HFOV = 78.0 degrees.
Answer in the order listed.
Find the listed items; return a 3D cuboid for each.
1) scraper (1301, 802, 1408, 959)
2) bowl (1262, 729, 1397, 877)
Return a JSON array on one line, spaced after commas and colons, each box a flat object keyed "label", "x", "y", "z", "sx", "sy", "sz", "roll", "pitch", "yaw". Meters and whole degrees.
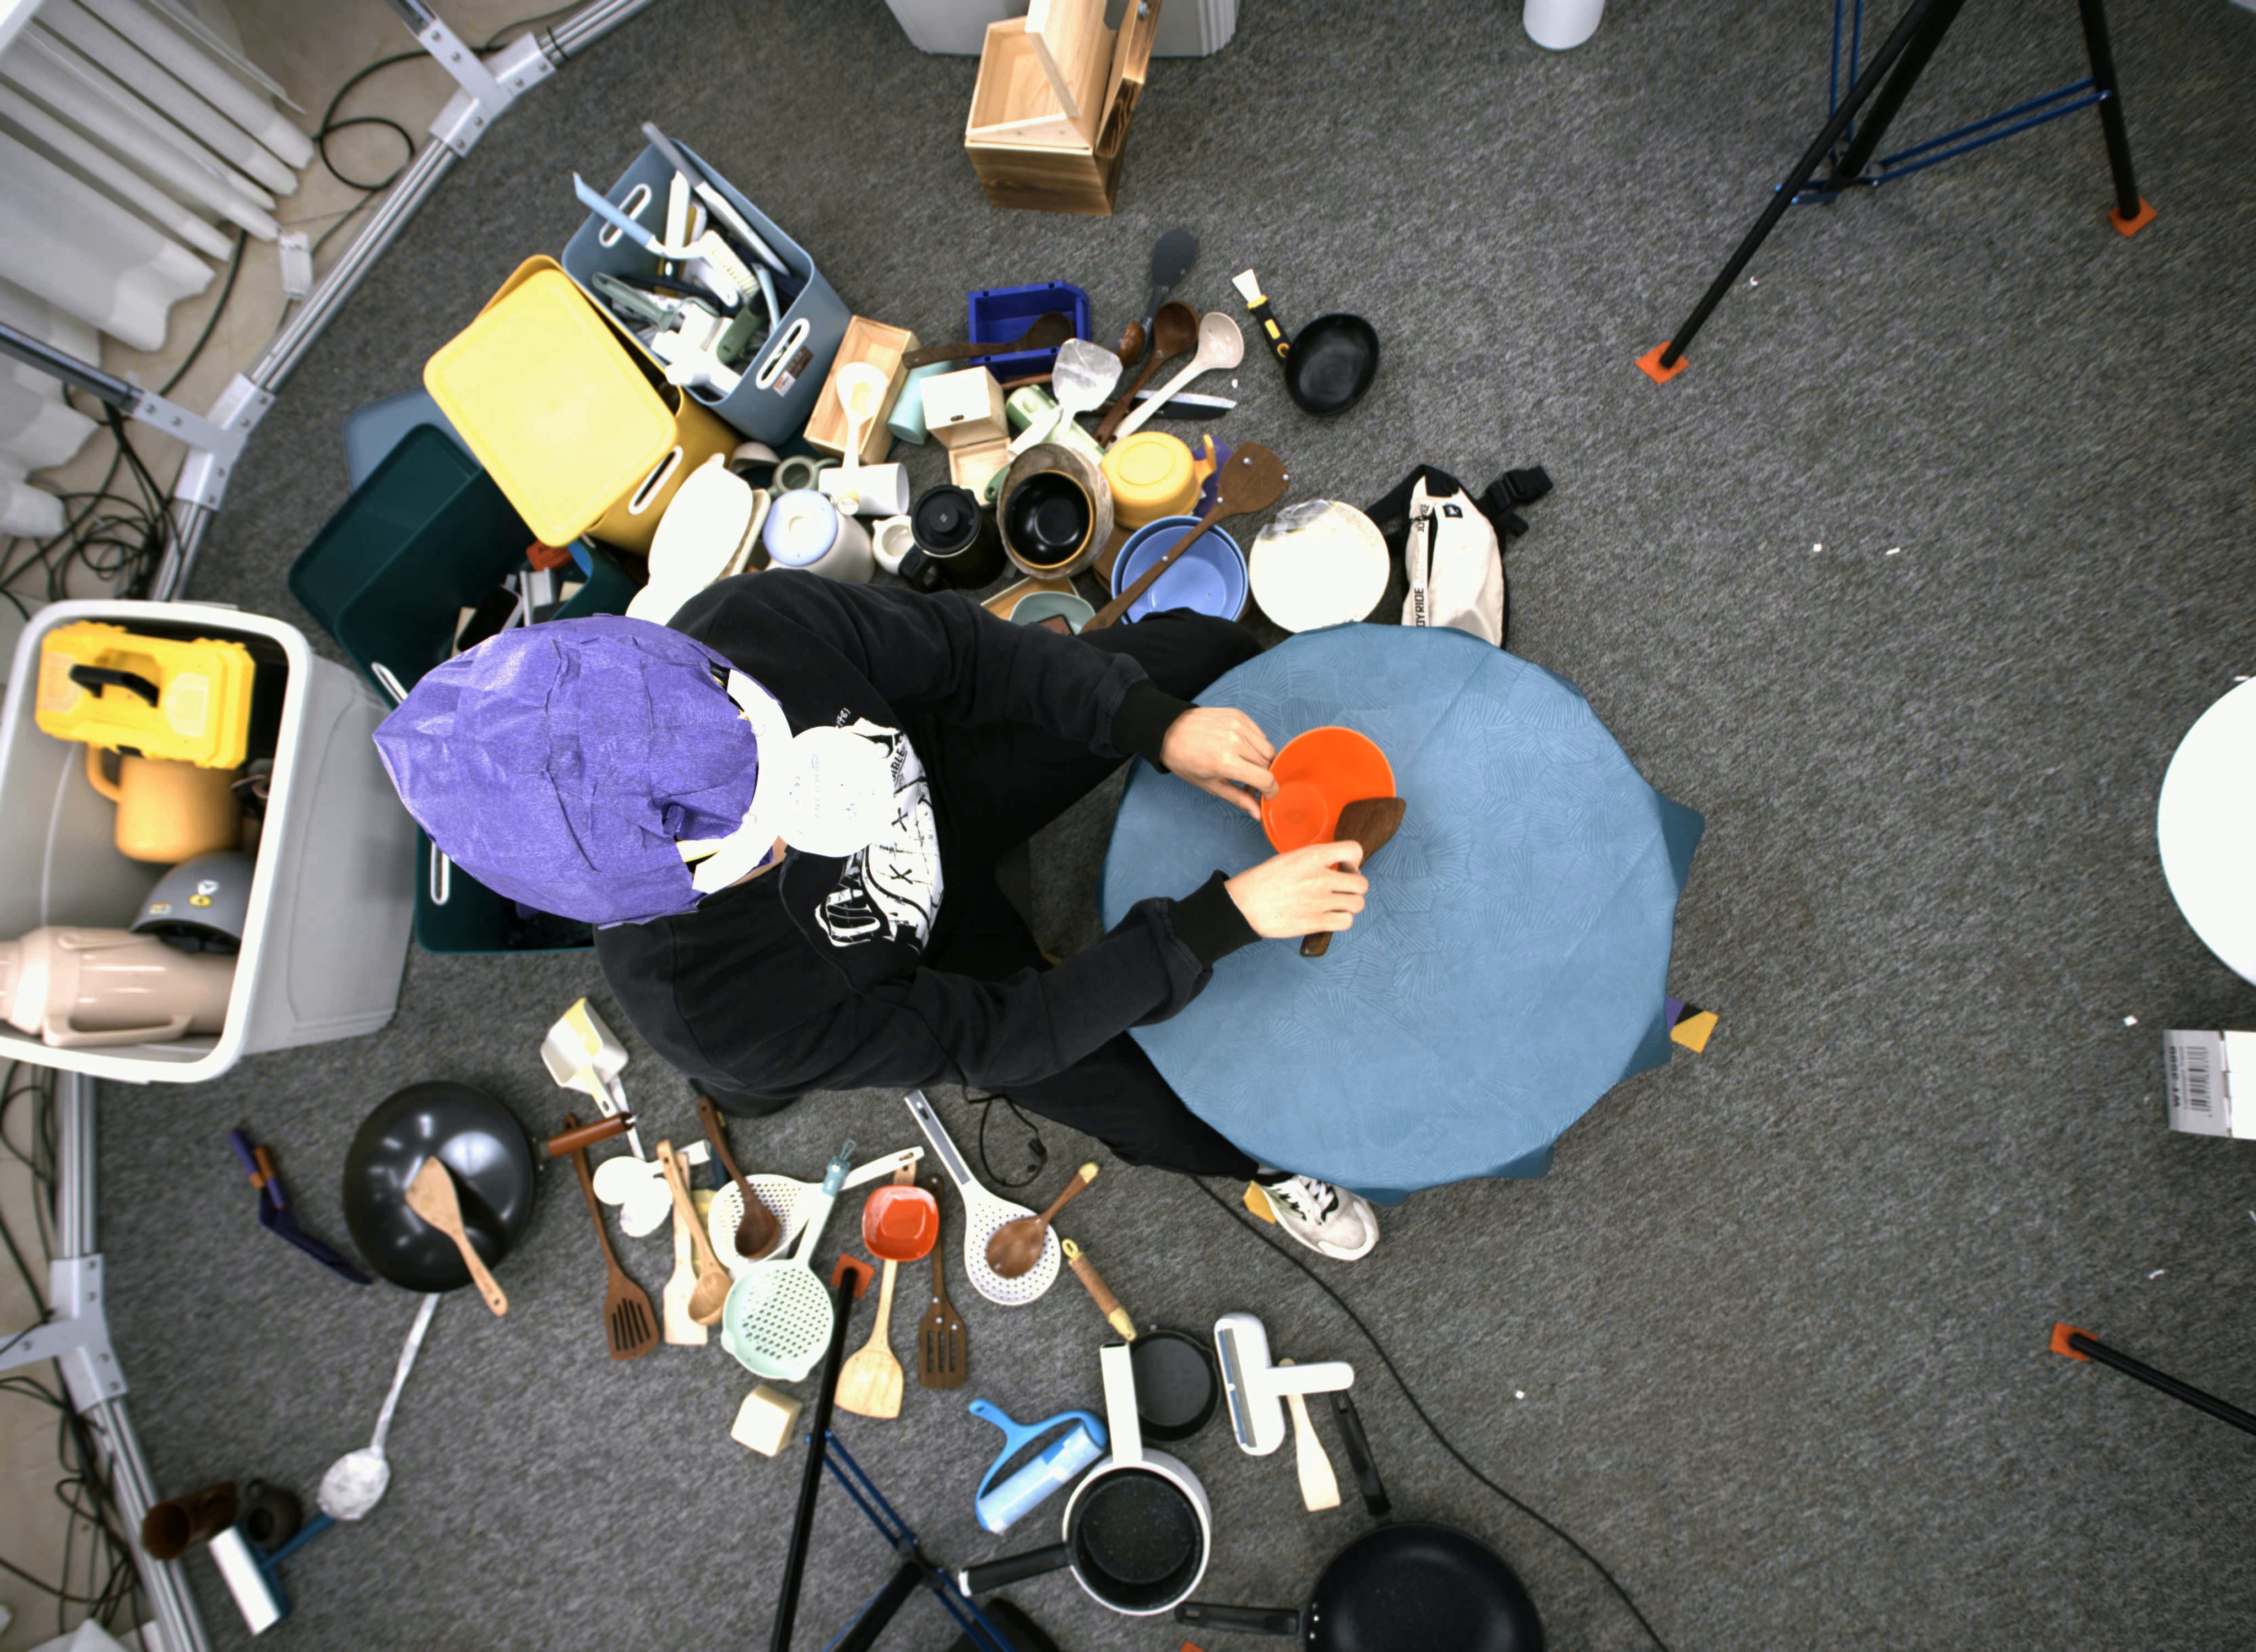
[{"label": "scraper", "x": 0.216, "y": 0.051, "z": 1.361, "sx": 0.076, "sy": 0.011, "sz": 0.206, "roll": -3, "pitch": 43, "yaw": 39}, {"label": "bowl", "x": 0.194, "y": -0.023, "z": 1.424, "sx": 0.147, "sy": 0.105, "sz": 0.148, "roll": 0, "pitch": 90, "yaw": -16}]
